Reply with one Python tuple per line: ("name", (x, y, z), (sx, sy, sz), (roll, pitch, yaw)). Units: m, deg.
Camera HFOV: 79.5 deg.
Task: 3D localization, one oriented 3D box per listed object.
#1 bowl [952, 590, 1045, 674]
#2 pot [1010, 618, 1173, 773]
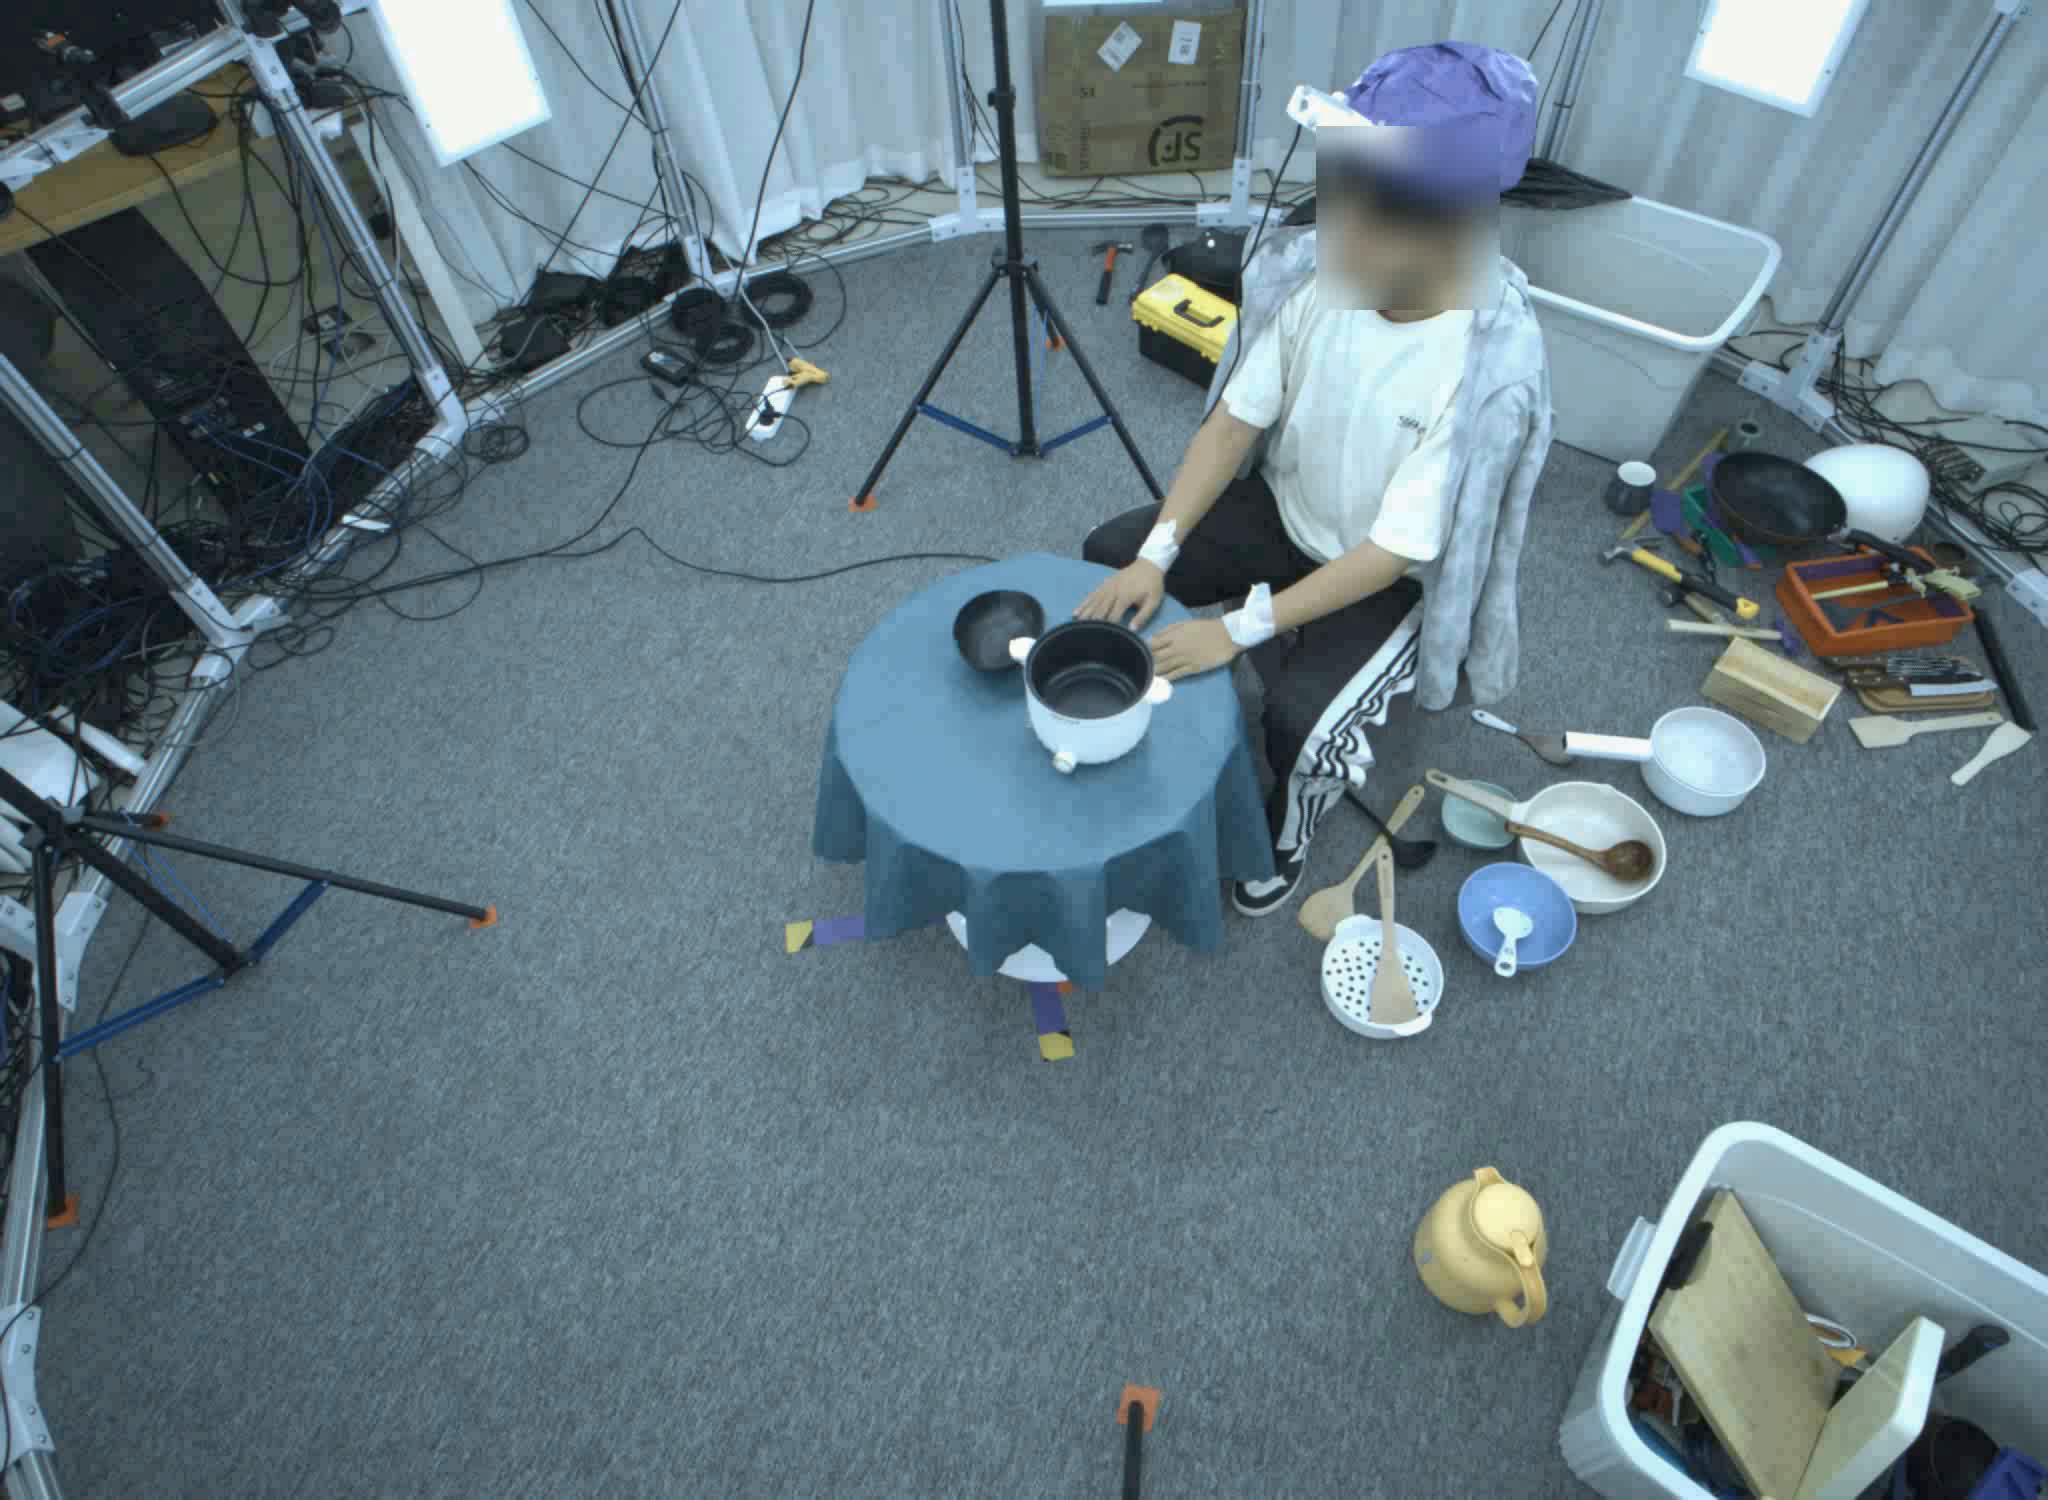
("bowl", (-0.037, -0.173, 1.873), (0.136, 0.067, 0.170), (14, 56, 10))
("pot", (0.093, -0.072, 1.752), (0.237, 0.144, 0.190), (17, 54, 15))
